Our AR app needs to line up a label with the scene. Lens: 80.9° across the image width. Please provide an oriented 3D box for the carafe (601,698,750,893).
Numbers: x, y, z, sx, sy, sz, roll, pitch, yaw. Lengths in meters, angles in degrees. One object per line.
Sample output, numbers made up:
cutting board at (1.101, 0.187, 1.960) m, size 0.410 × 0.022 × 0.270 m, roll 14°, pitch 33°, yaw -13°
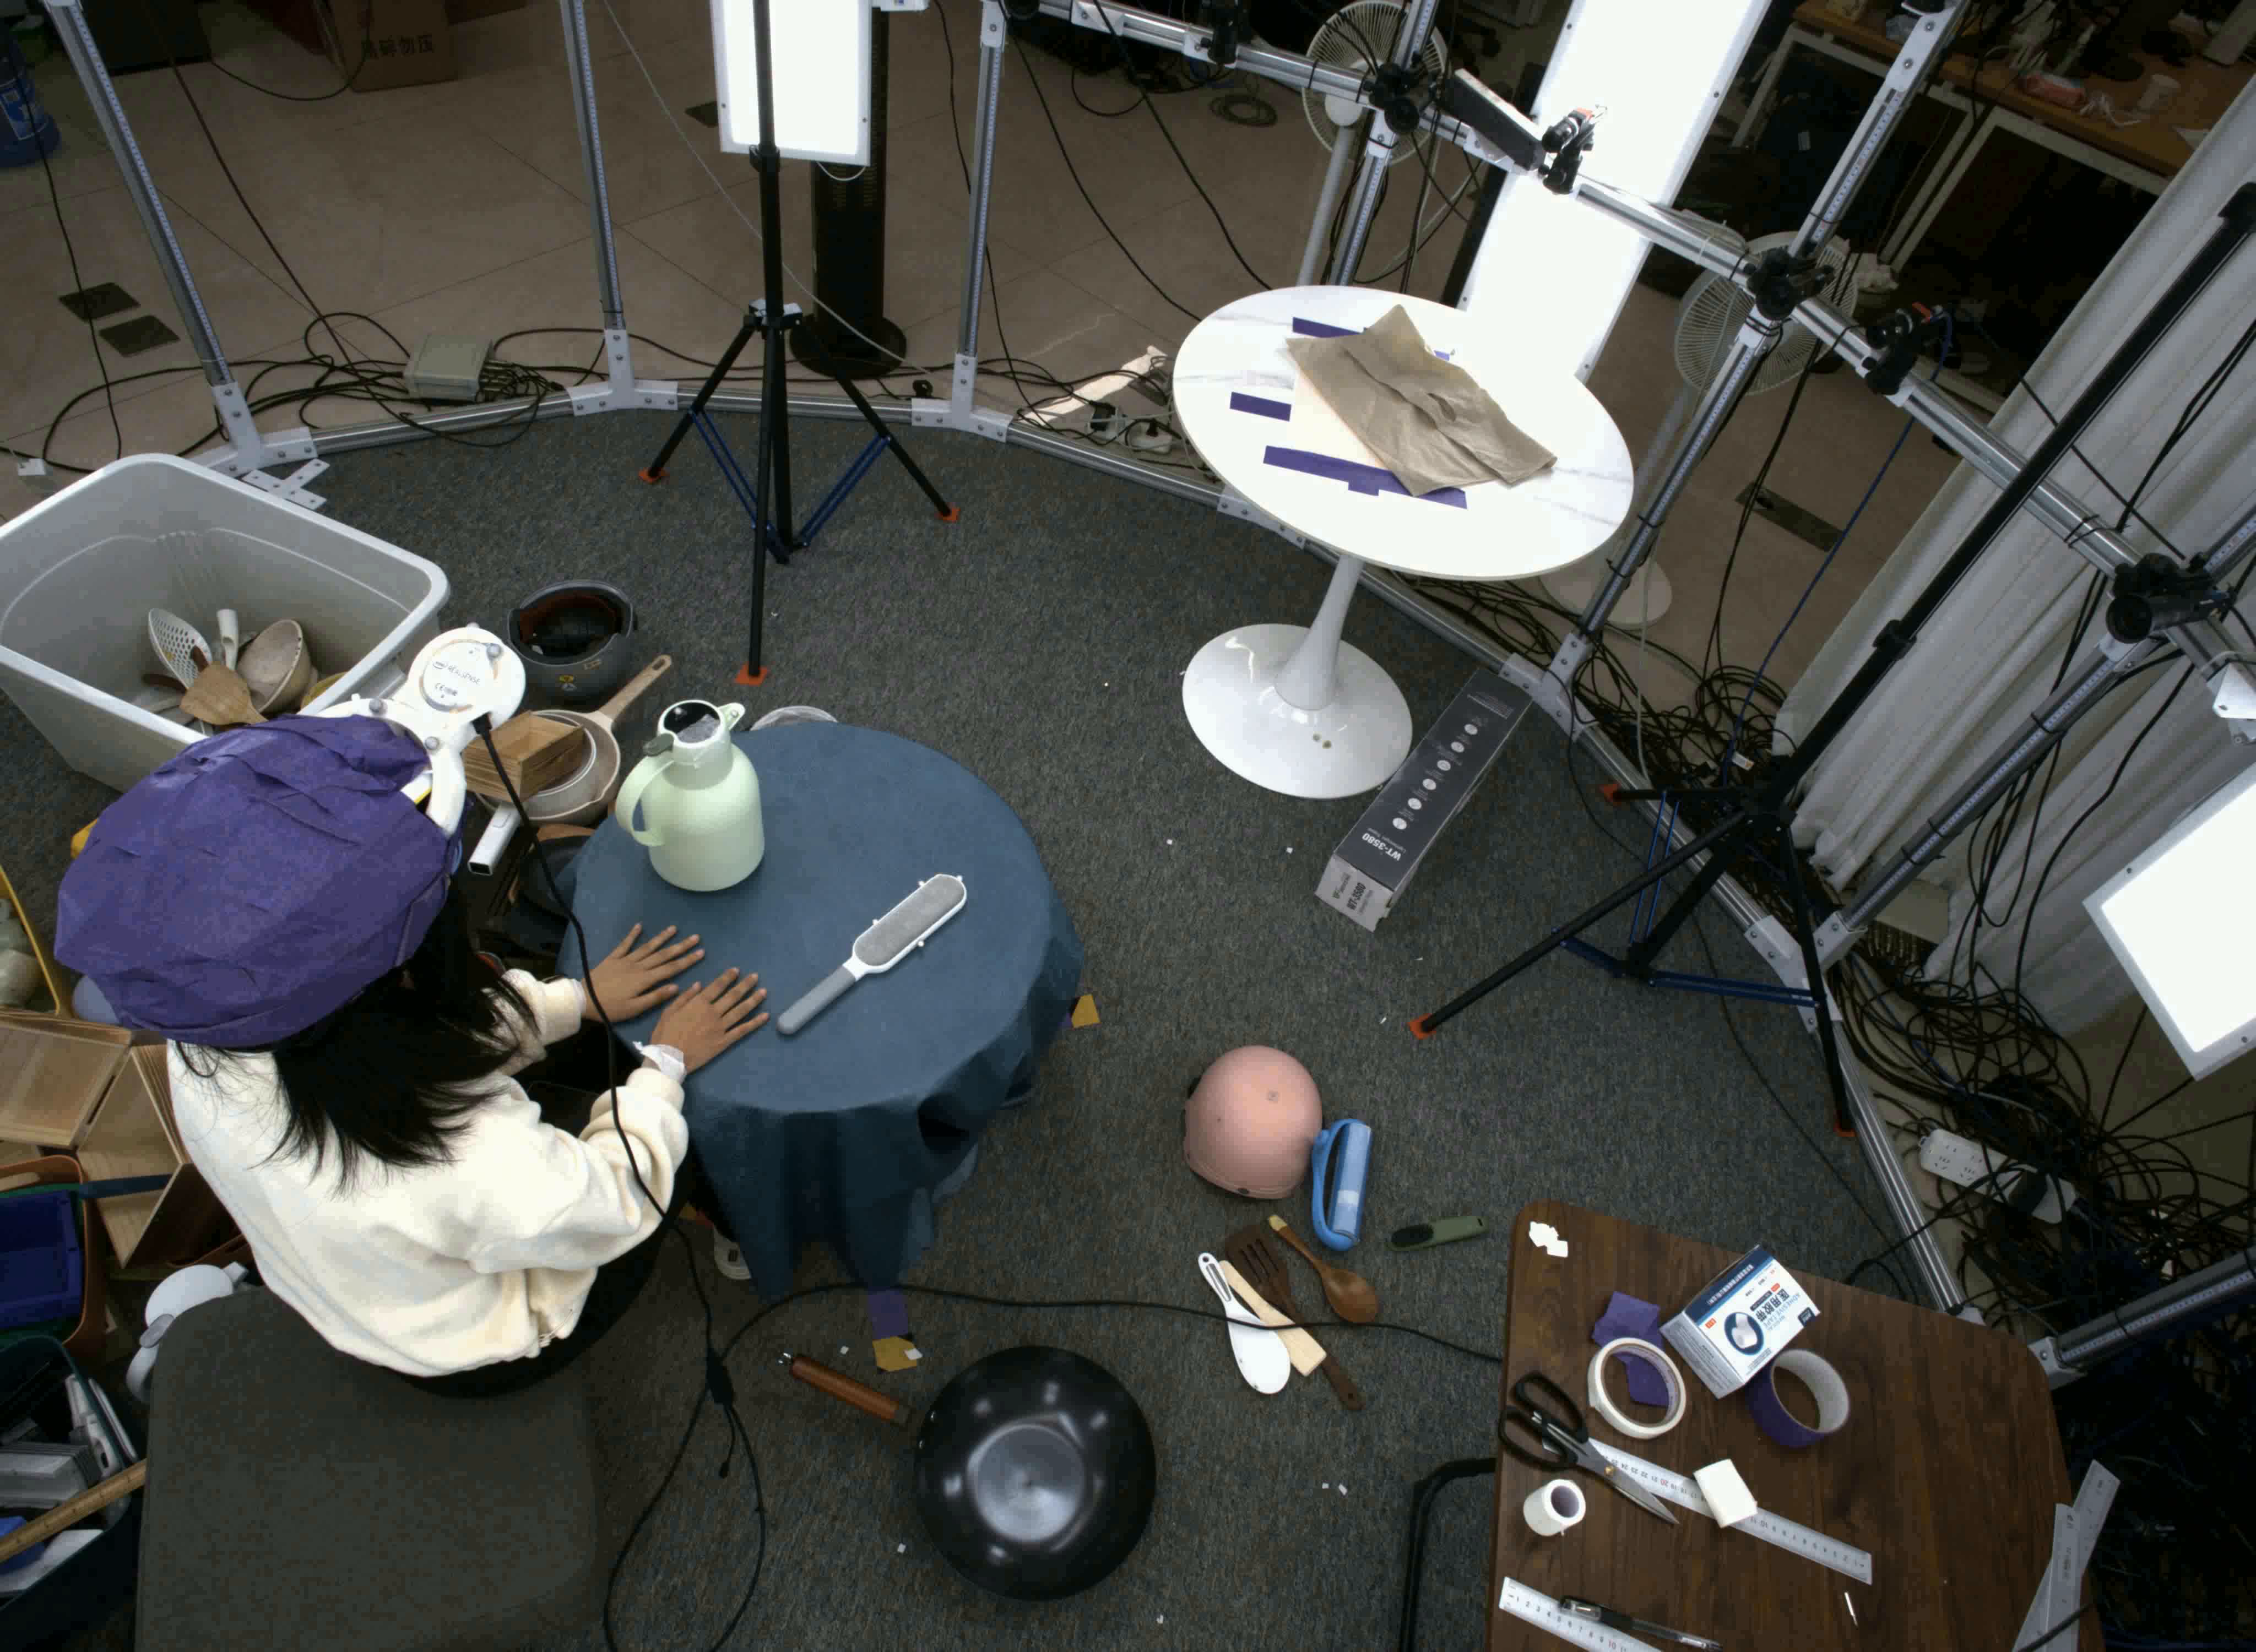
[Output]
carafe at (-0.548, -0.036, 1.552) m, size 0.141 × 0.262 × 0.187 m, roll 37°, pitch 58°, yaw 15°

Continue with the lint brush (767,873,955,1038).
lint brush at (-0.330, 0.155, 1.613) m, size 0.059 × 0.021 × 0.309 m, roll 39°, pitch 55°, yaw 12°
